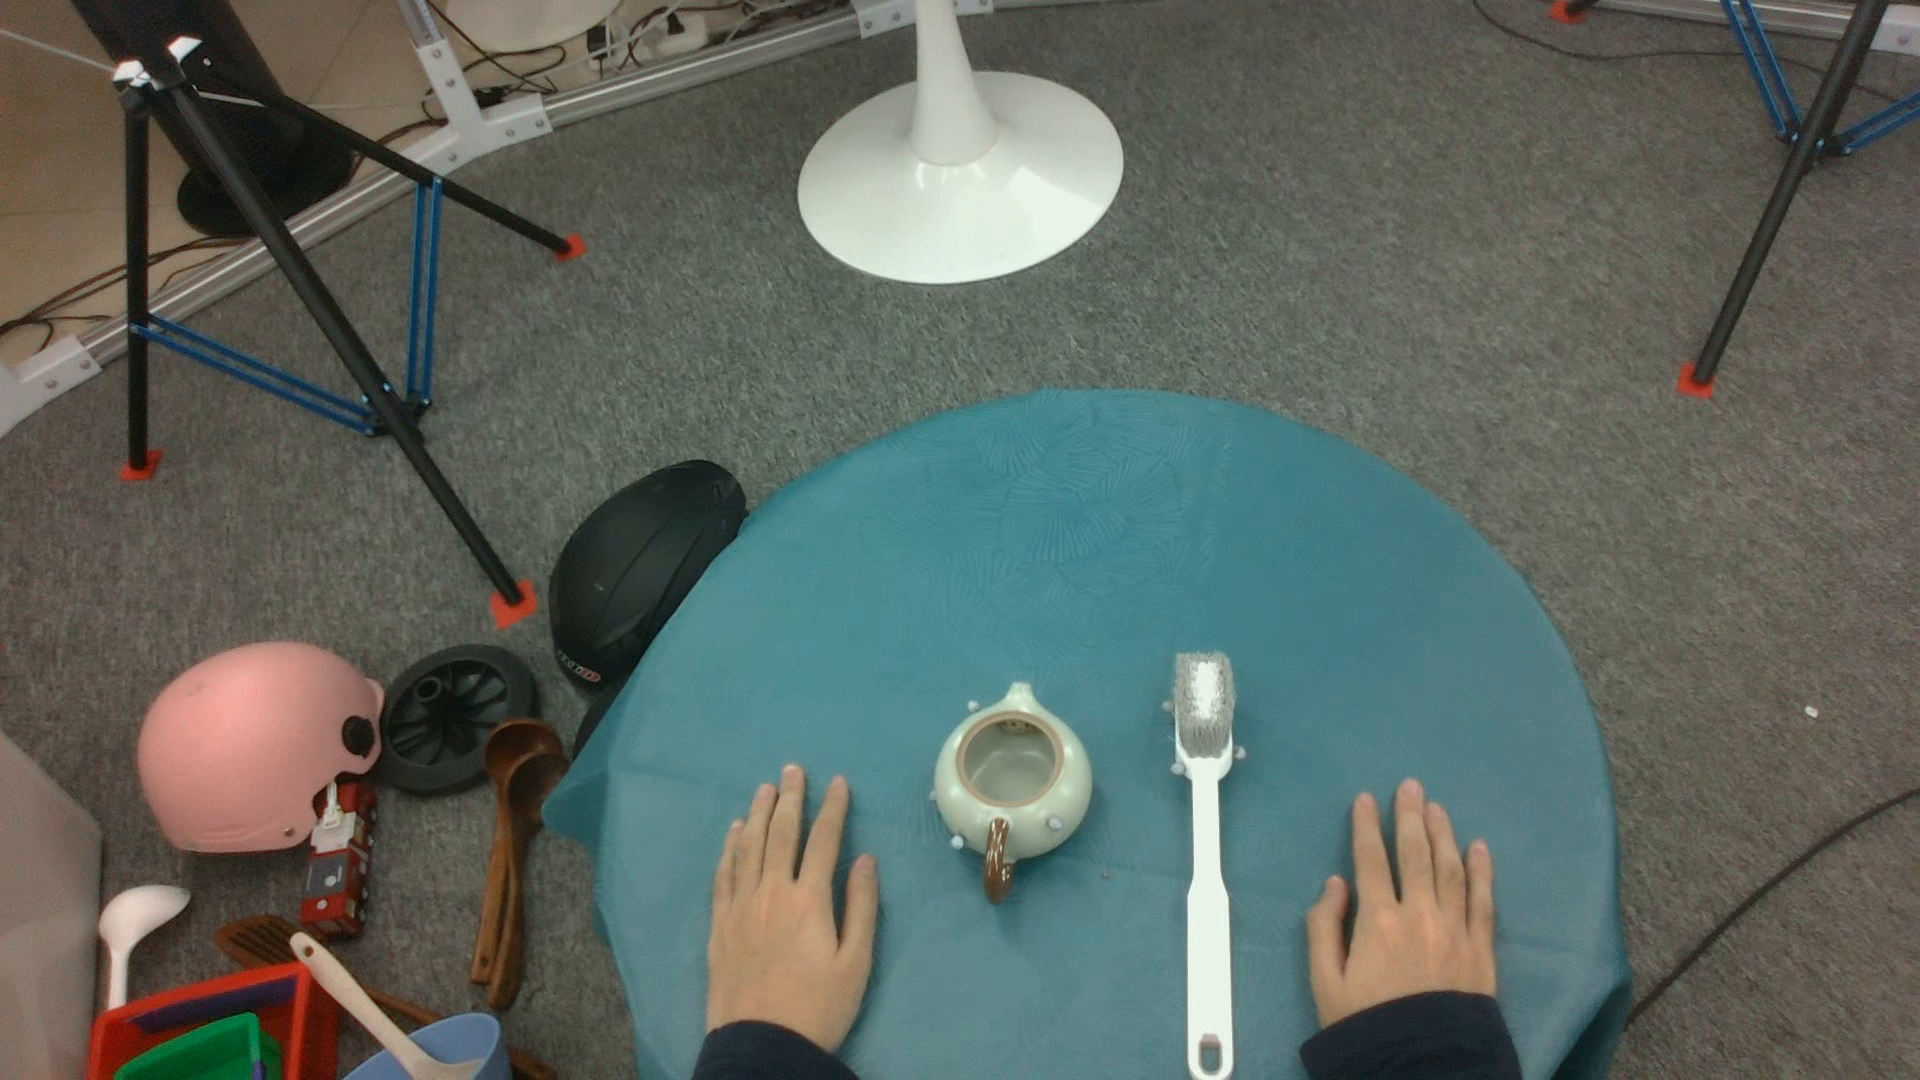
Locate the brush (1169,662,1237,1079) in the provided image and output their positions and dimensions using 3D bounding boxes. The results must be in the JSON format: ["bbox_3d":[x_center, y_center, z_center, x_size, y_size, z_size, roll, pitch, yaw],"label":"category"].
[{"bbox_3d":[0.135,0.176,0.774,0.034,0.050,0.245,4,53,7],"label":"brush"}]

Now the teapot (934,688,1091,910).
[{"bbox_3d":[0.030,0.152,0.803,0.092,0.059,0.128,3,53,7],"label":"teapot"}]
